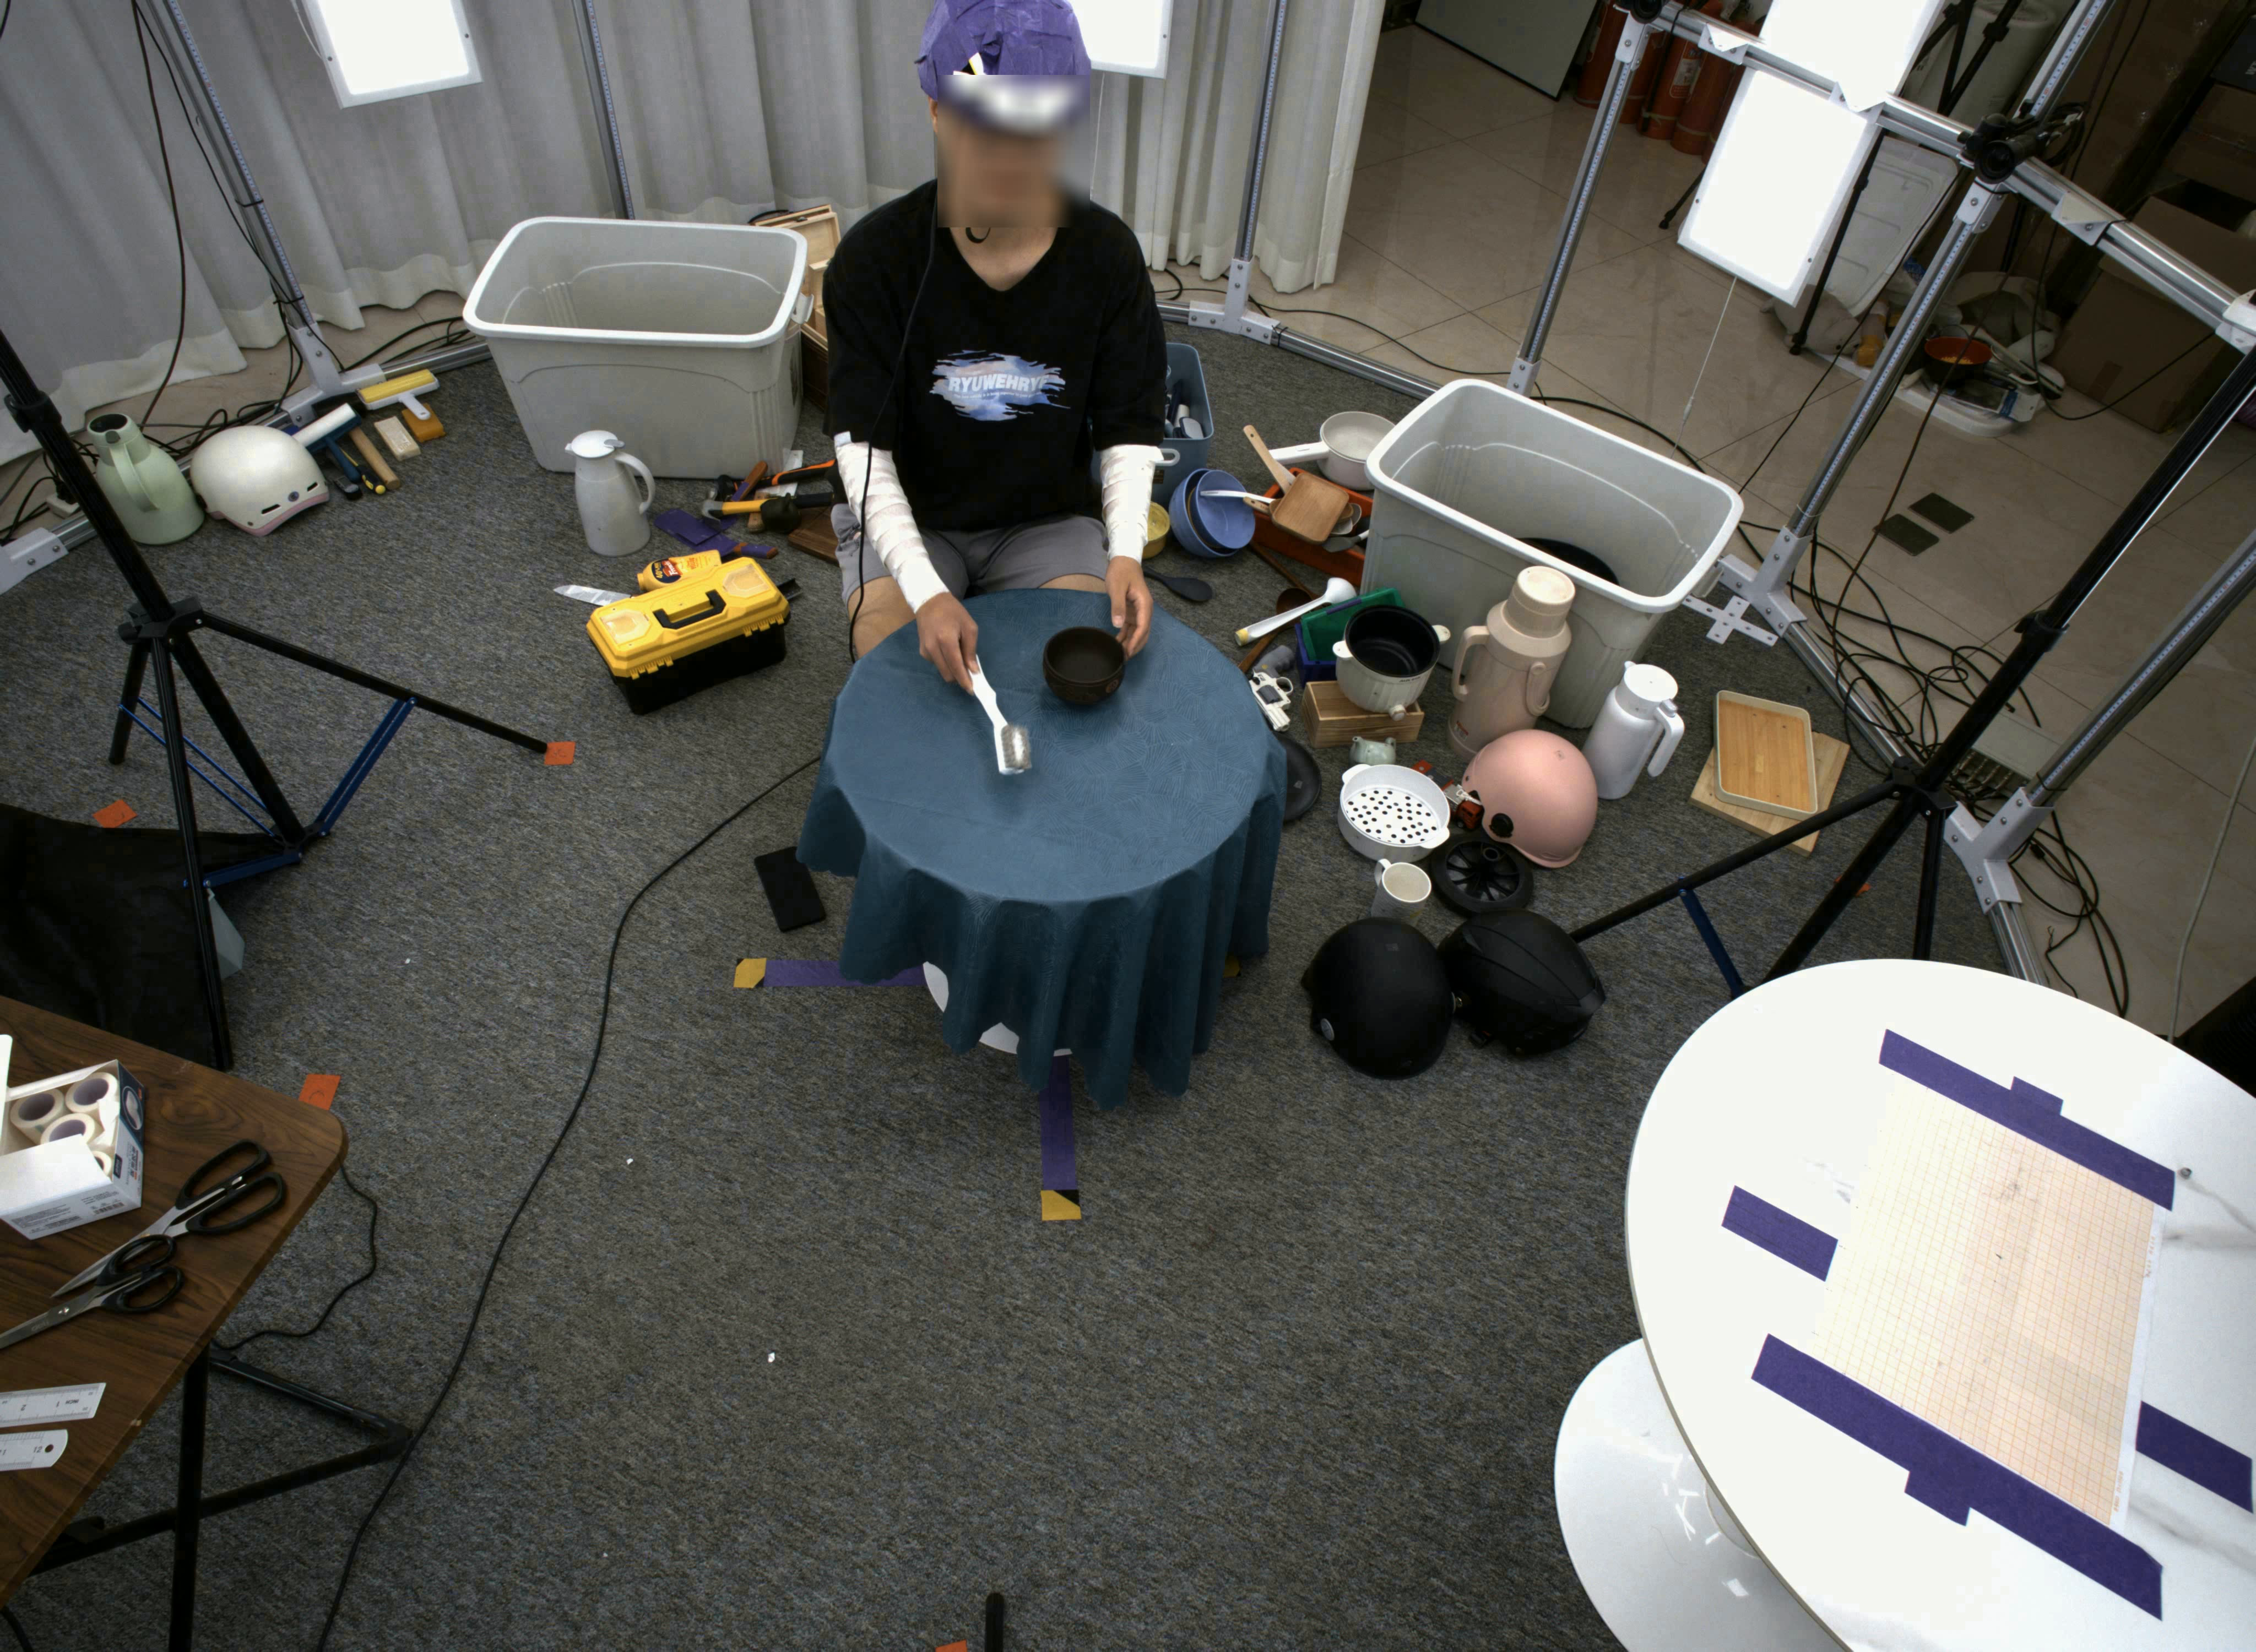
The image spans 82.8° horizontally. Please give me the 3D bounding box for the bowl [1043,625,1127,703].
[{"bbox_3d":[-0.061,-0.221,1.812,0.118,0.068,0.121,1,48,-1],"label":"bowl"}]

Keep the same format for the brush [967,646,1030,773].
[{"bbox_3d":[-0.176,-0.170,1.738,0.034,0.049,0.249,9,45,-33],"label":"brush"}]
